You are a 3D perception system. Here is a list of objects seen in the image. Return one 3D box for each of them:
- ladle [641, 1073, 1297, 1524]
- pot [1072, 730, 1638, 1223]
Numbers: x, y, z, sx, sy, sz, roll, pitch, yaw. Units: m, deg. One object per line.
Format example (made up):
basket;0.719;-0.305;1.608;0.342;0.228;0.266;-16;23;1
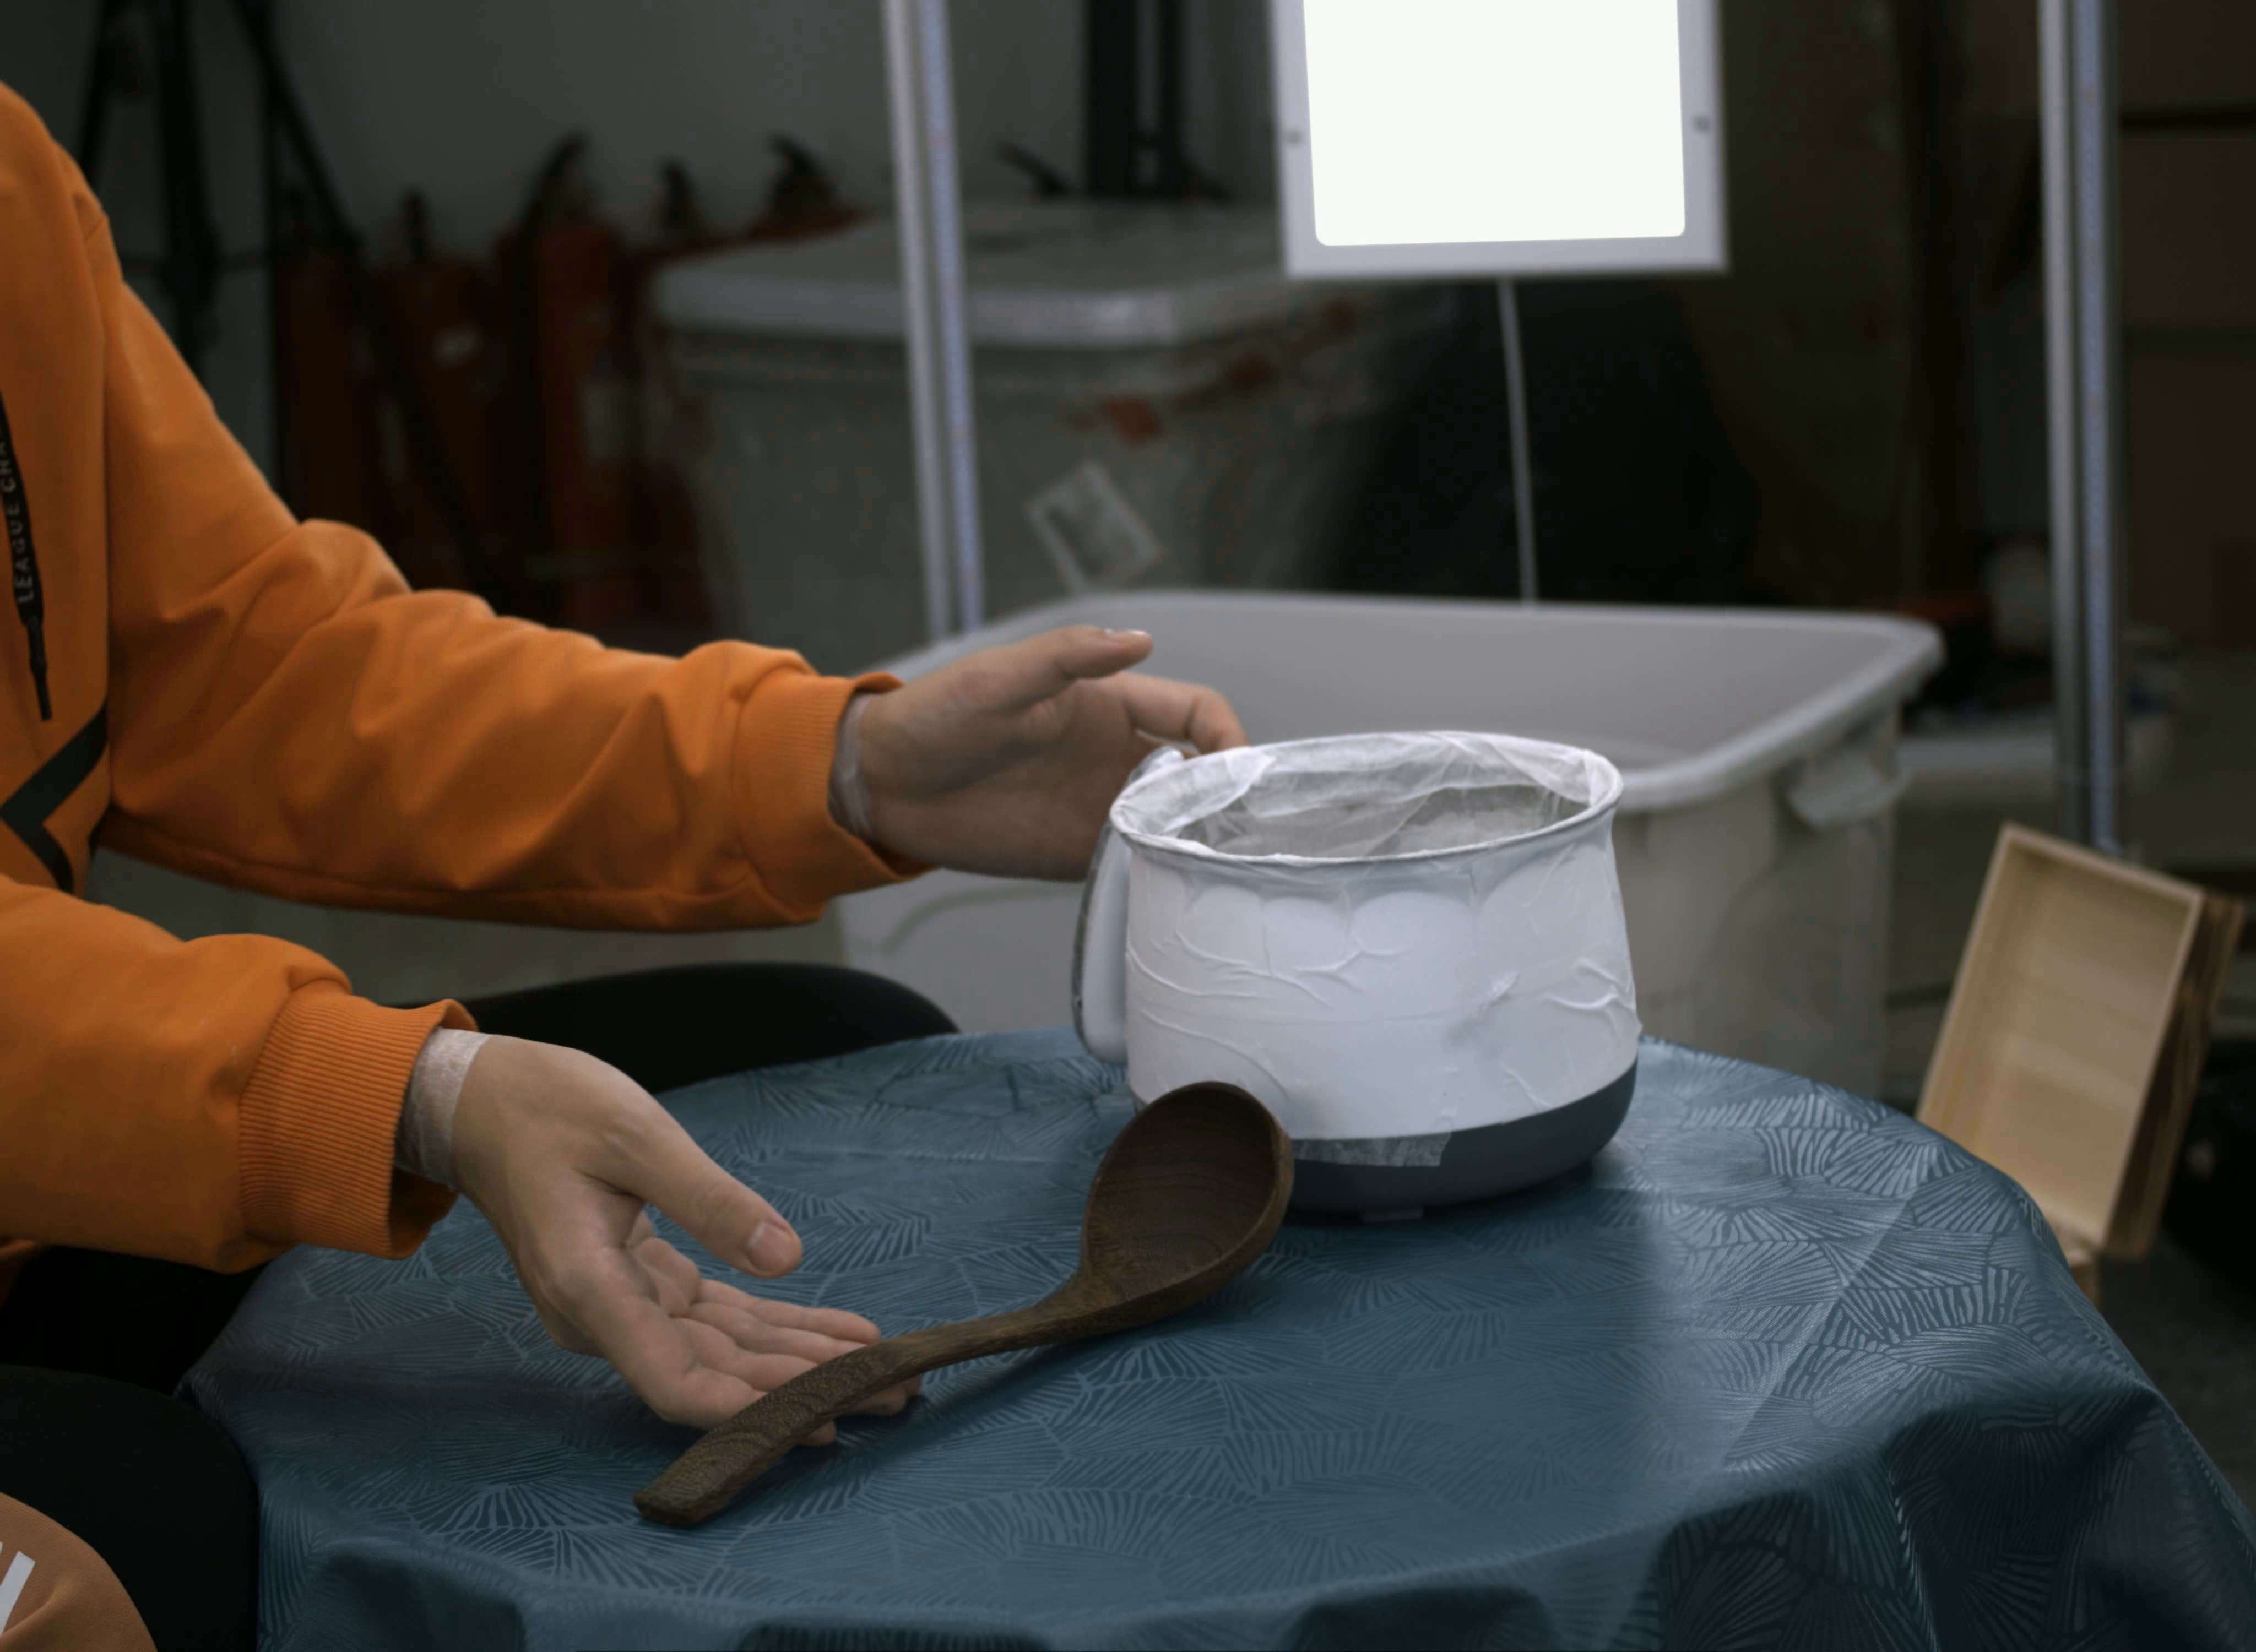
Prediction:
ladle;-0.050;0.142;1.707;0.078;0.071;0.267;4;16;43
pot;0.067;0.046;1.911;0.174;0.137;0.239;-17;18;-41
